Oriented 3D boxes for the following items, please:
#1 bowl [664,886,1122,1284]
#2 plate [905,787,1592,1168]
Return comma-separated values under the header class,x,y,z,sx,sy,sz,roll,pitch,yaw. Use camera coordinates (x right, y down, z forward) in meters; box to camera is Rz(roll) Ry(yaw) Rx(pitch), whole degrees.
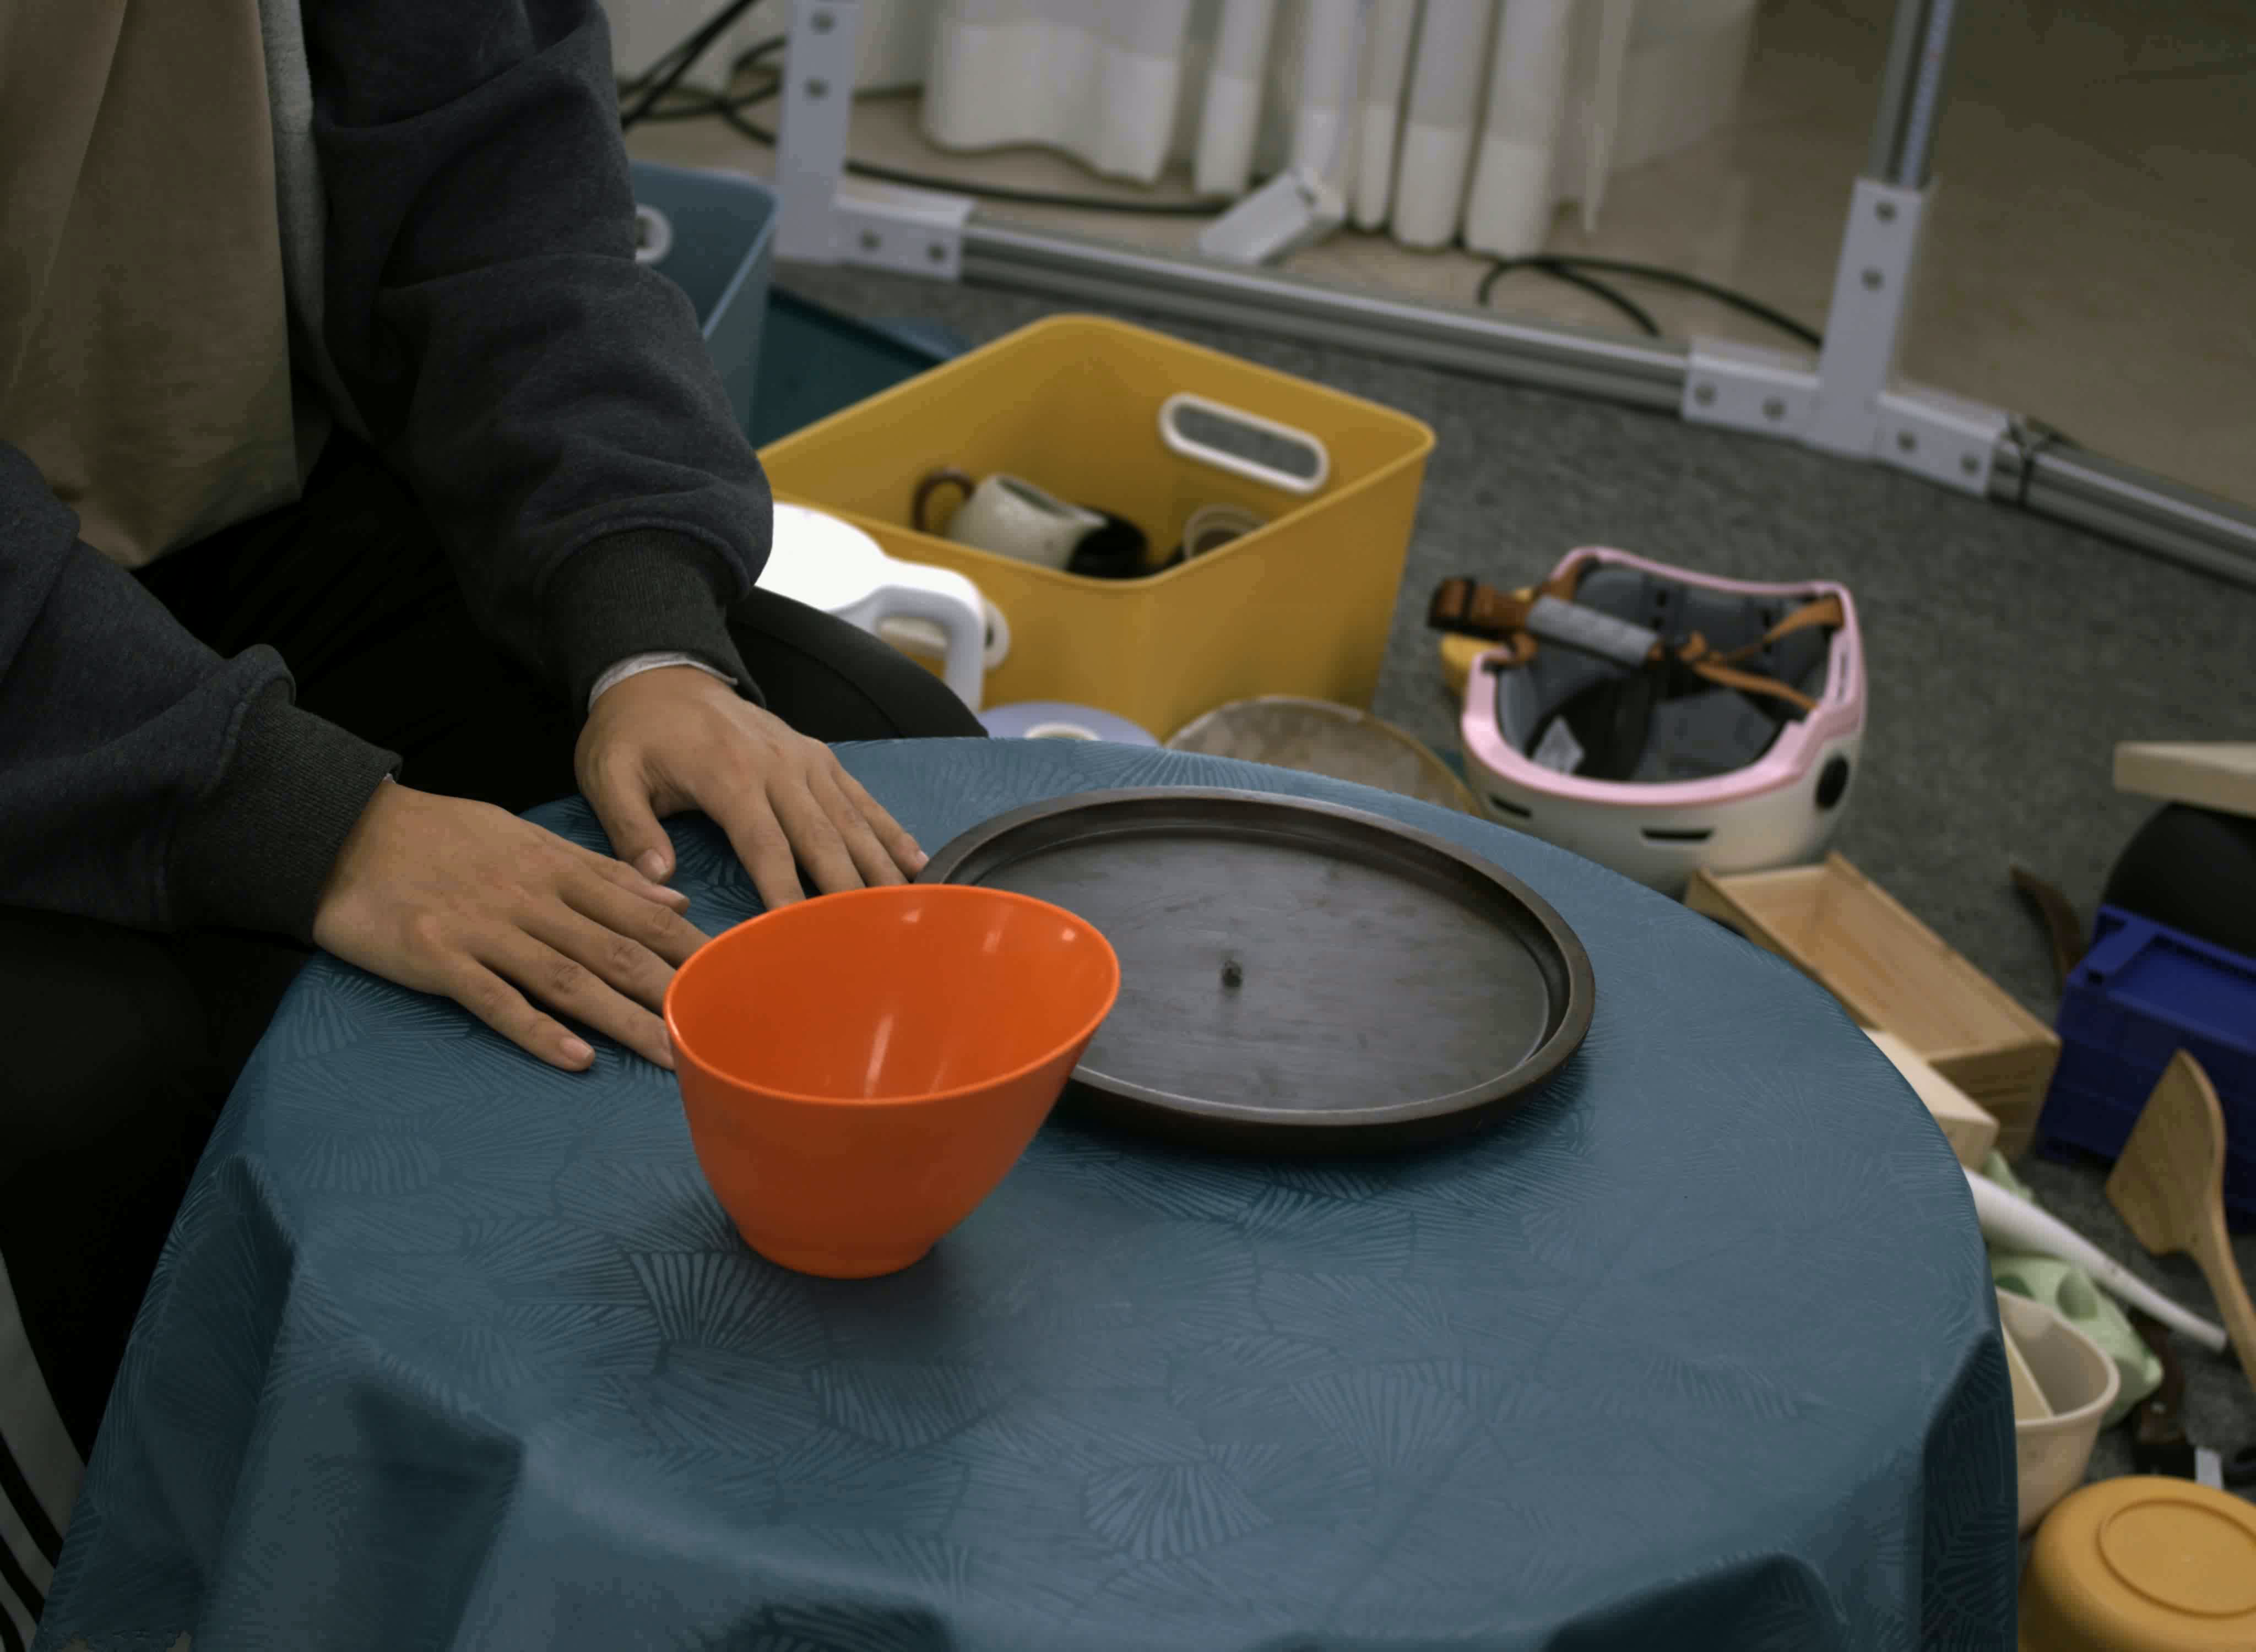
class,x,y,z,sx,sy,sz,roll,pitch,yaw
bowl,-0.080,0.090,1.739,0.147,0.104,0.149,5,28,-3
plate,0.042,0.053,1.925,0.254,0.029,0.256,4,28,-3
